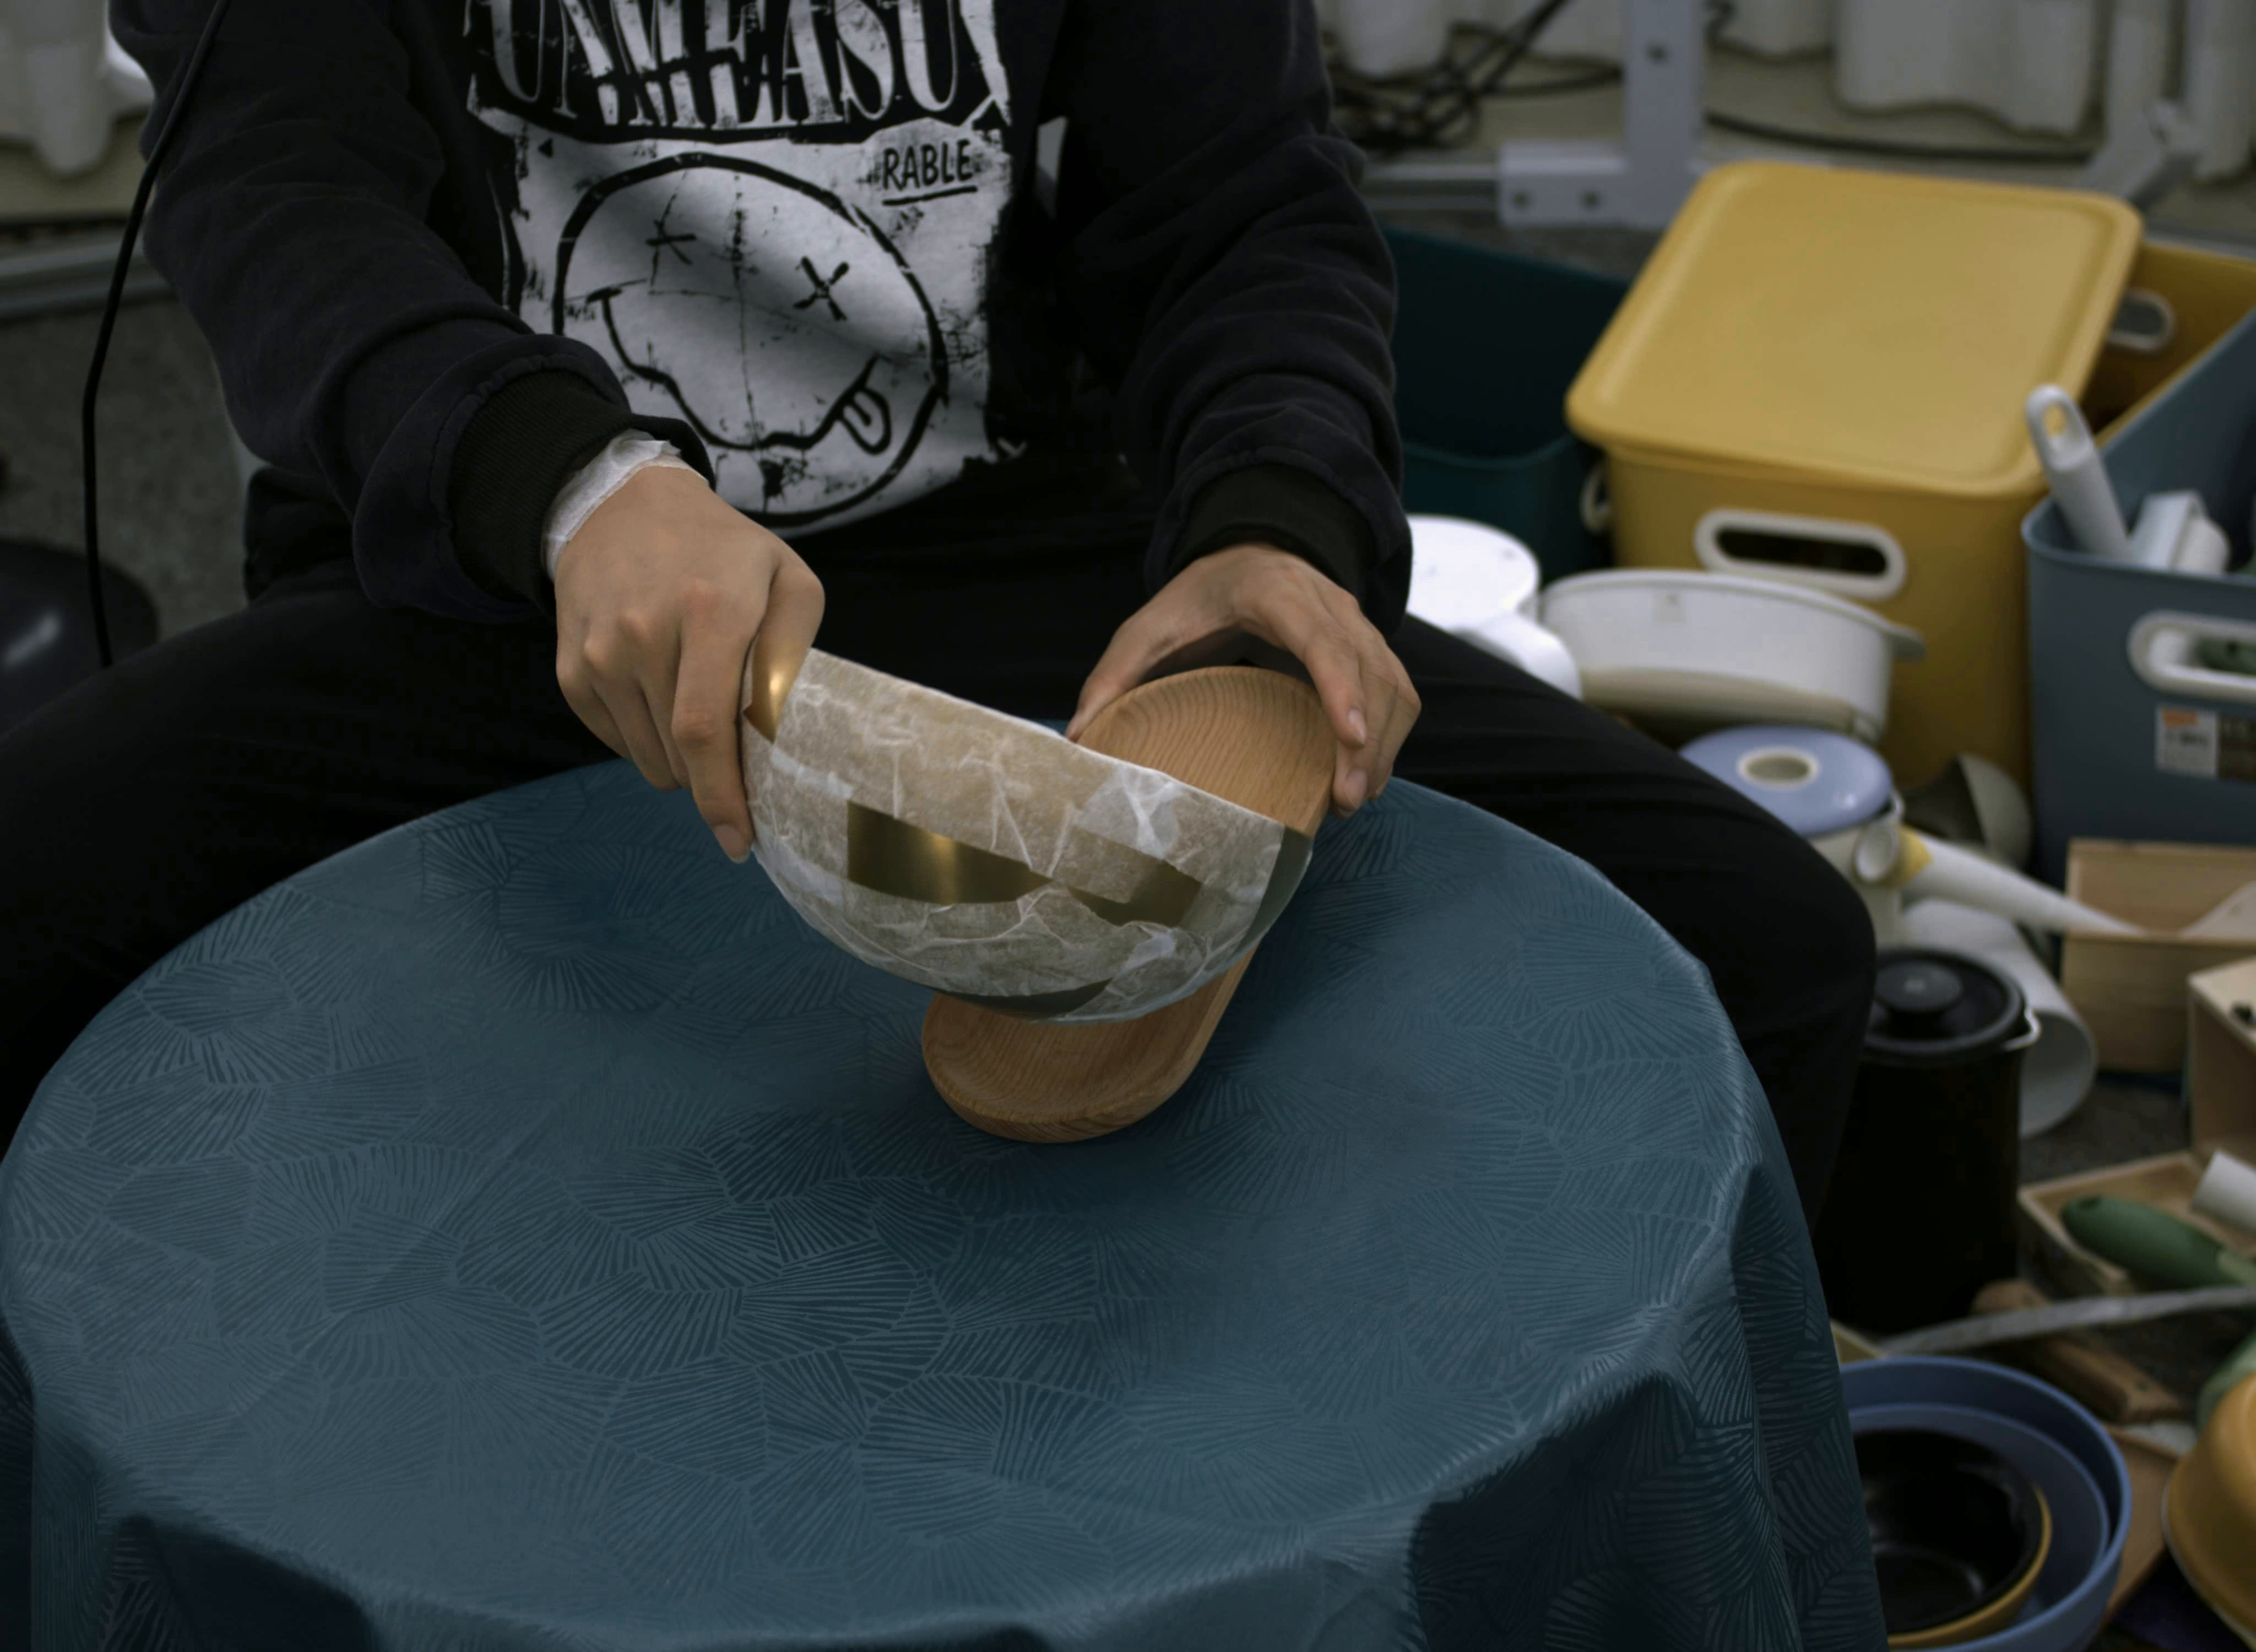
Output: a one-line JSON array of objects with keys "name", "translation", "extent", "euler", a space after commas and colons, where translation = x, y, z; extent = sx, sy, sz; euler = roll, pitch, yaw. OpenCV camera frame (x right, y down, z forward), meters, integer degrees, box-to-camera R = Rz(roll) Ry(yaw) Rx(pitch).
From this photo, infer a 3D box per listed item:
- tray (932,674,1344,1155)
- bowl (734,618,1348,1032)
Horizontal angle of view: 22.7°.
[{"name": "tray", "translation": [0.006, 0.029, 1.960], "extent": [0.101, 0.020, 0.236], "euler": [4, 45, 23]}, {"name": "bowl", "translation": [-0.044, 0.013, 1.854], "extent": [0.214, 0.095, 0.214], "euler": [20, -3, 2]}]
